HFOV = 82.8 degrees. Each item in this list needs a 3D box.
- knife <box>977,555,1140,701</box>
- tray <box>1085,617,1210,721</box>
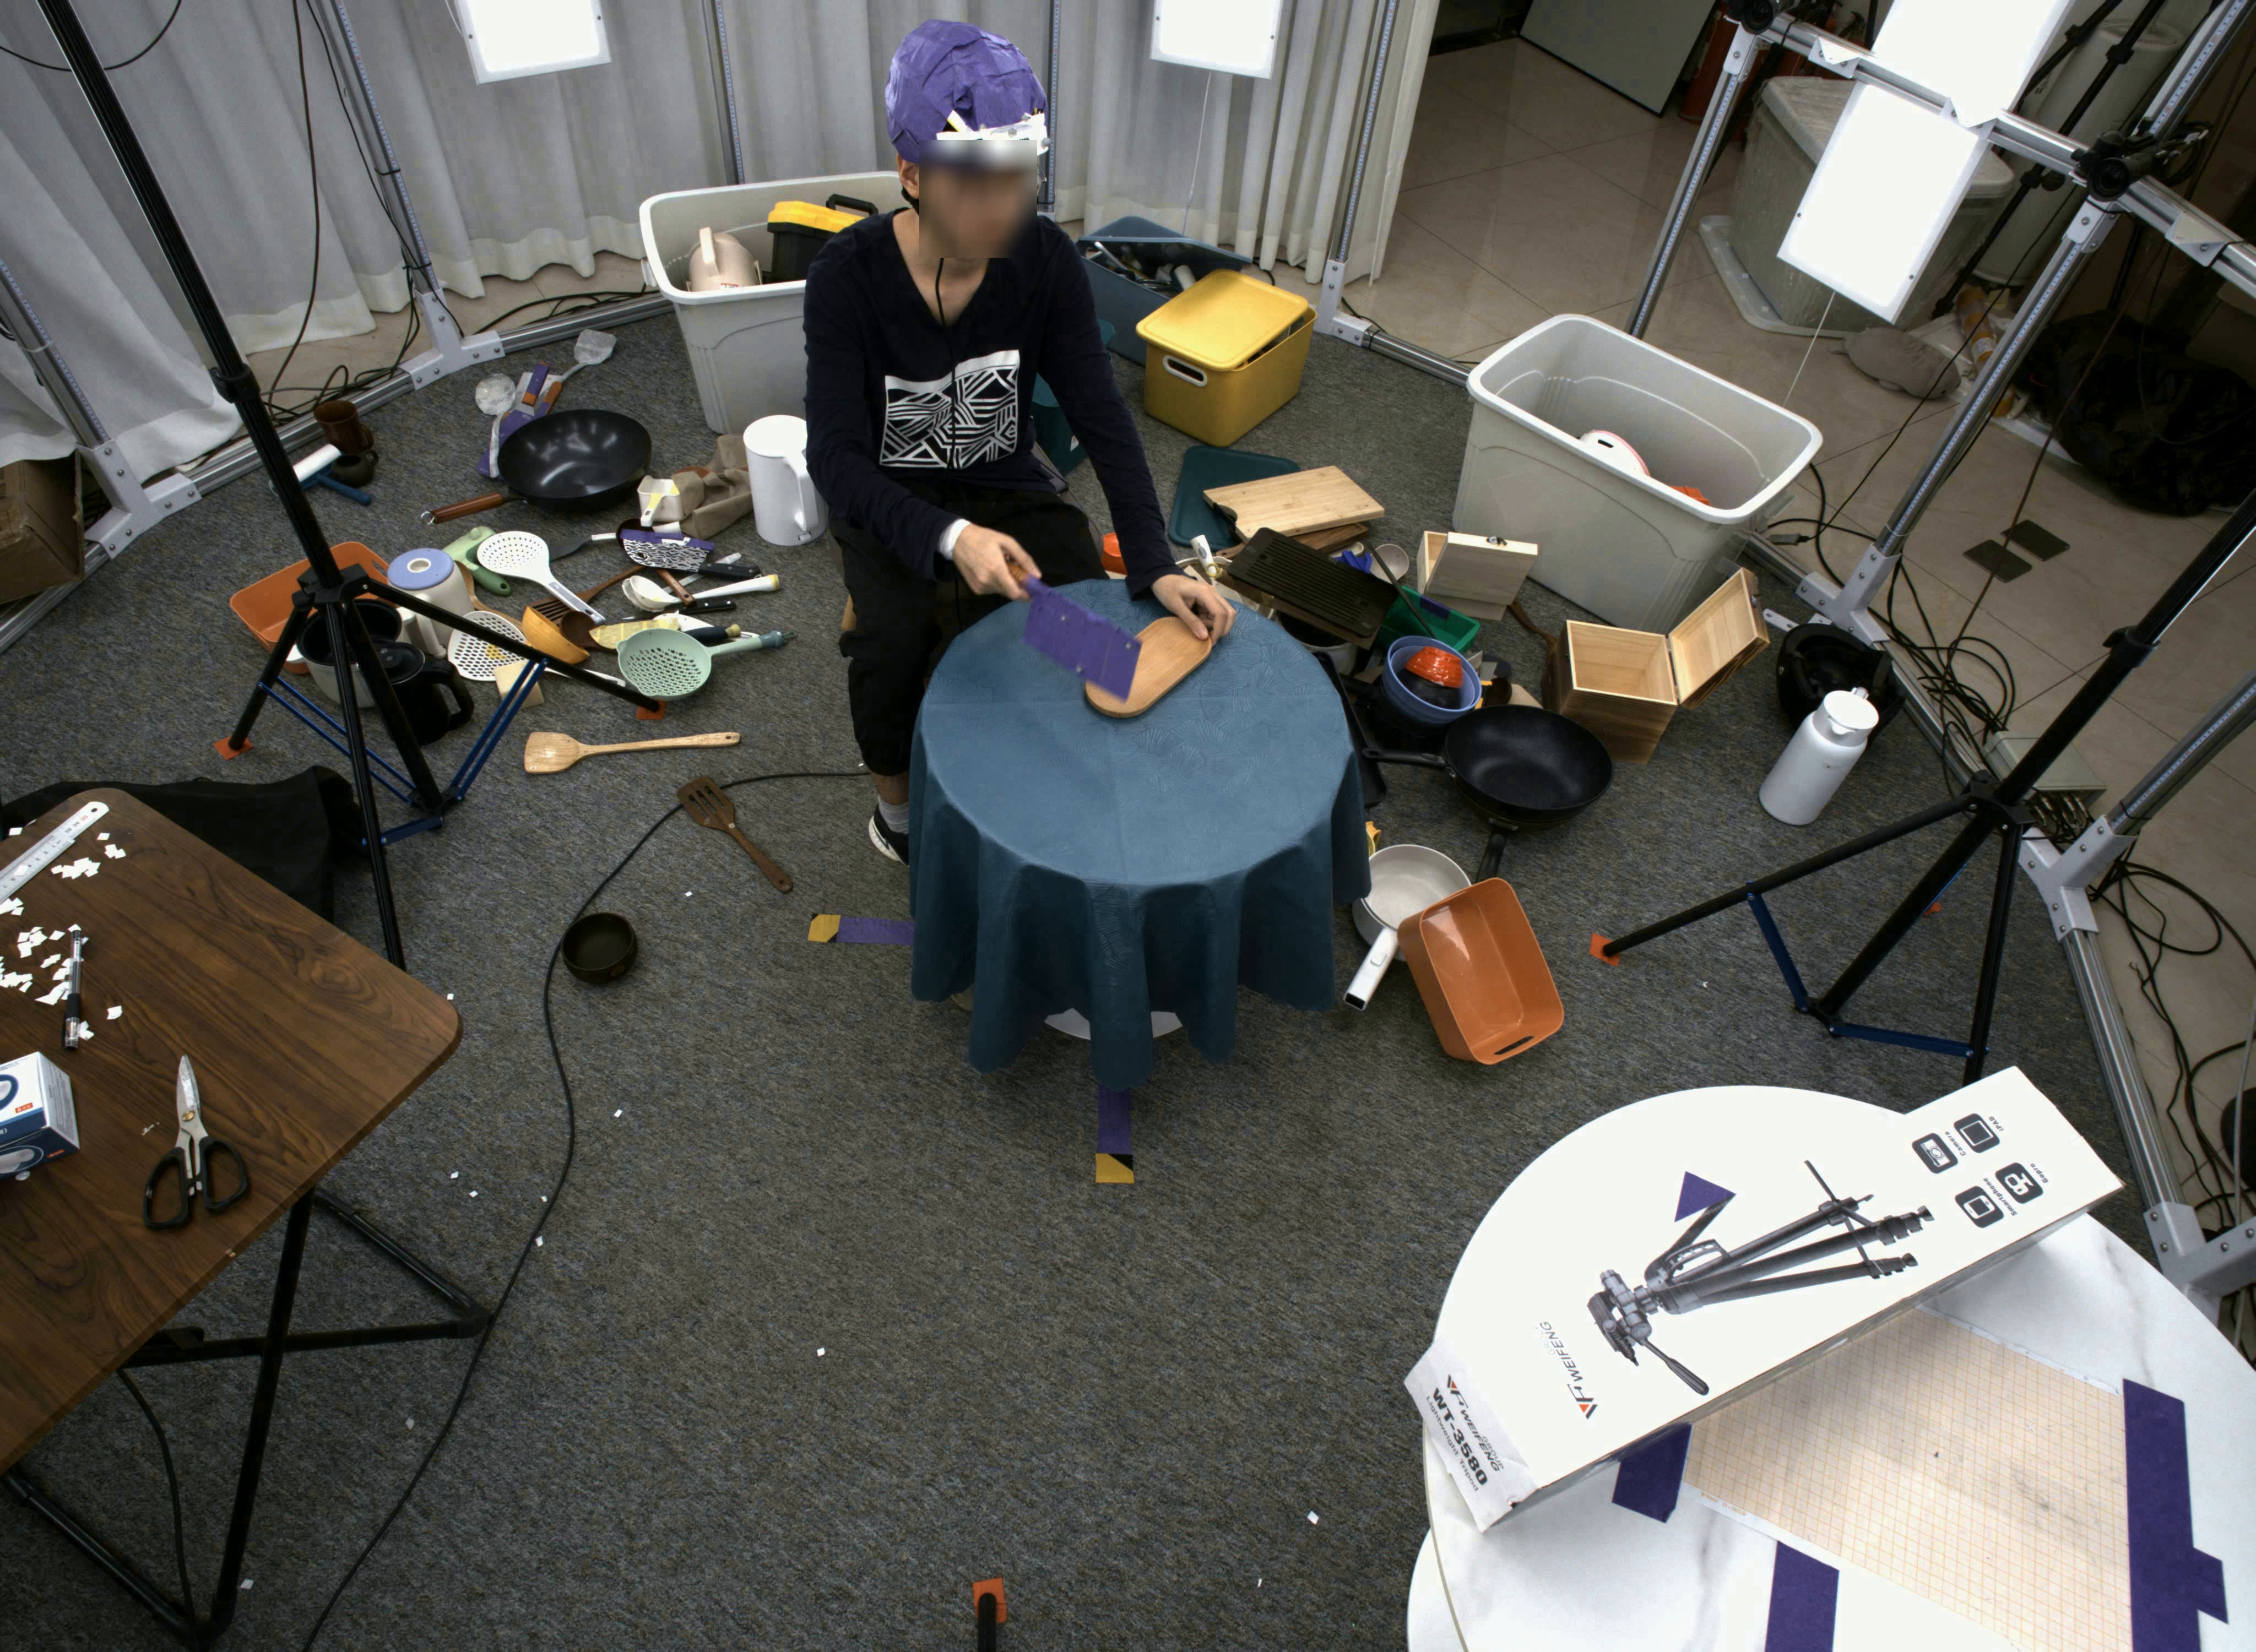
[{"bbox_3d":[-0.106,-0.269,1.749,0.032,0.102,0.320,-7,34,-46],"label":"knife"},{"bbox_3d":[0.030,-0.229,1.856,0.103,0.020,0.234,32,57,21],"label":"tray"}]
